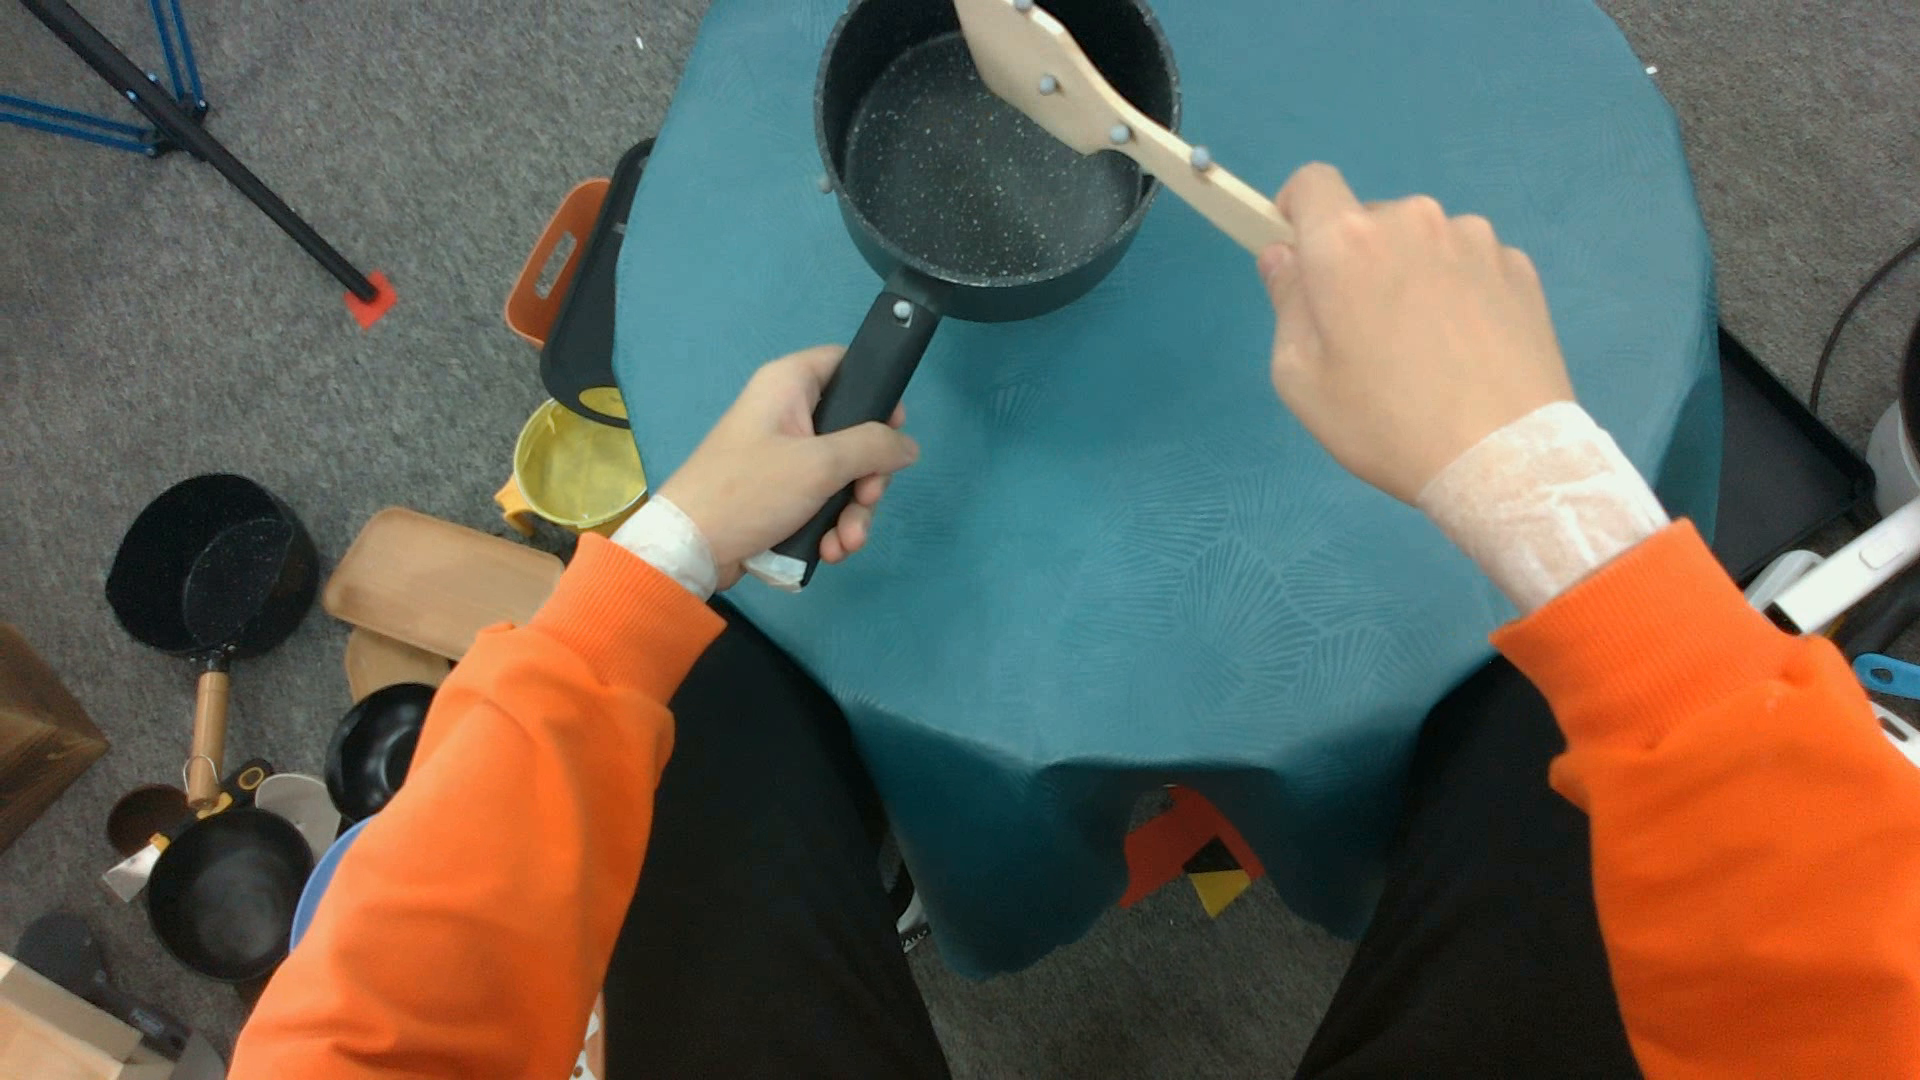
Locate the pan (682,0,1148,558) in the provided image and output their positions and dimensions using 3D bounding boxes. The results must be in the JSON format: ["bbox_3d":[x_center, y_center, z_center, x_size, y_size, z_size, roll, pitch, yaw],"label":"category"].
[{"bbox_3d":[-0.034,-0.135,0.662,0.172,0.086,0.329,27,80,4],"label":"pan"}]

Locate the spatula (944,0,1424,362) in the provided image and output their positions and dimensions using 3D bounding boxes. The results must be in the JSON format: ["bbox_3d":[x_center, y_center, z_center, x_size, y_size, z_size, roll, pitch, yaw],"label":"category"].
[{"bbox_3d":[0.079,-0.160,0.561,0.010,0.072,0.293,-35,56,-11],"label":"spatula"}]
